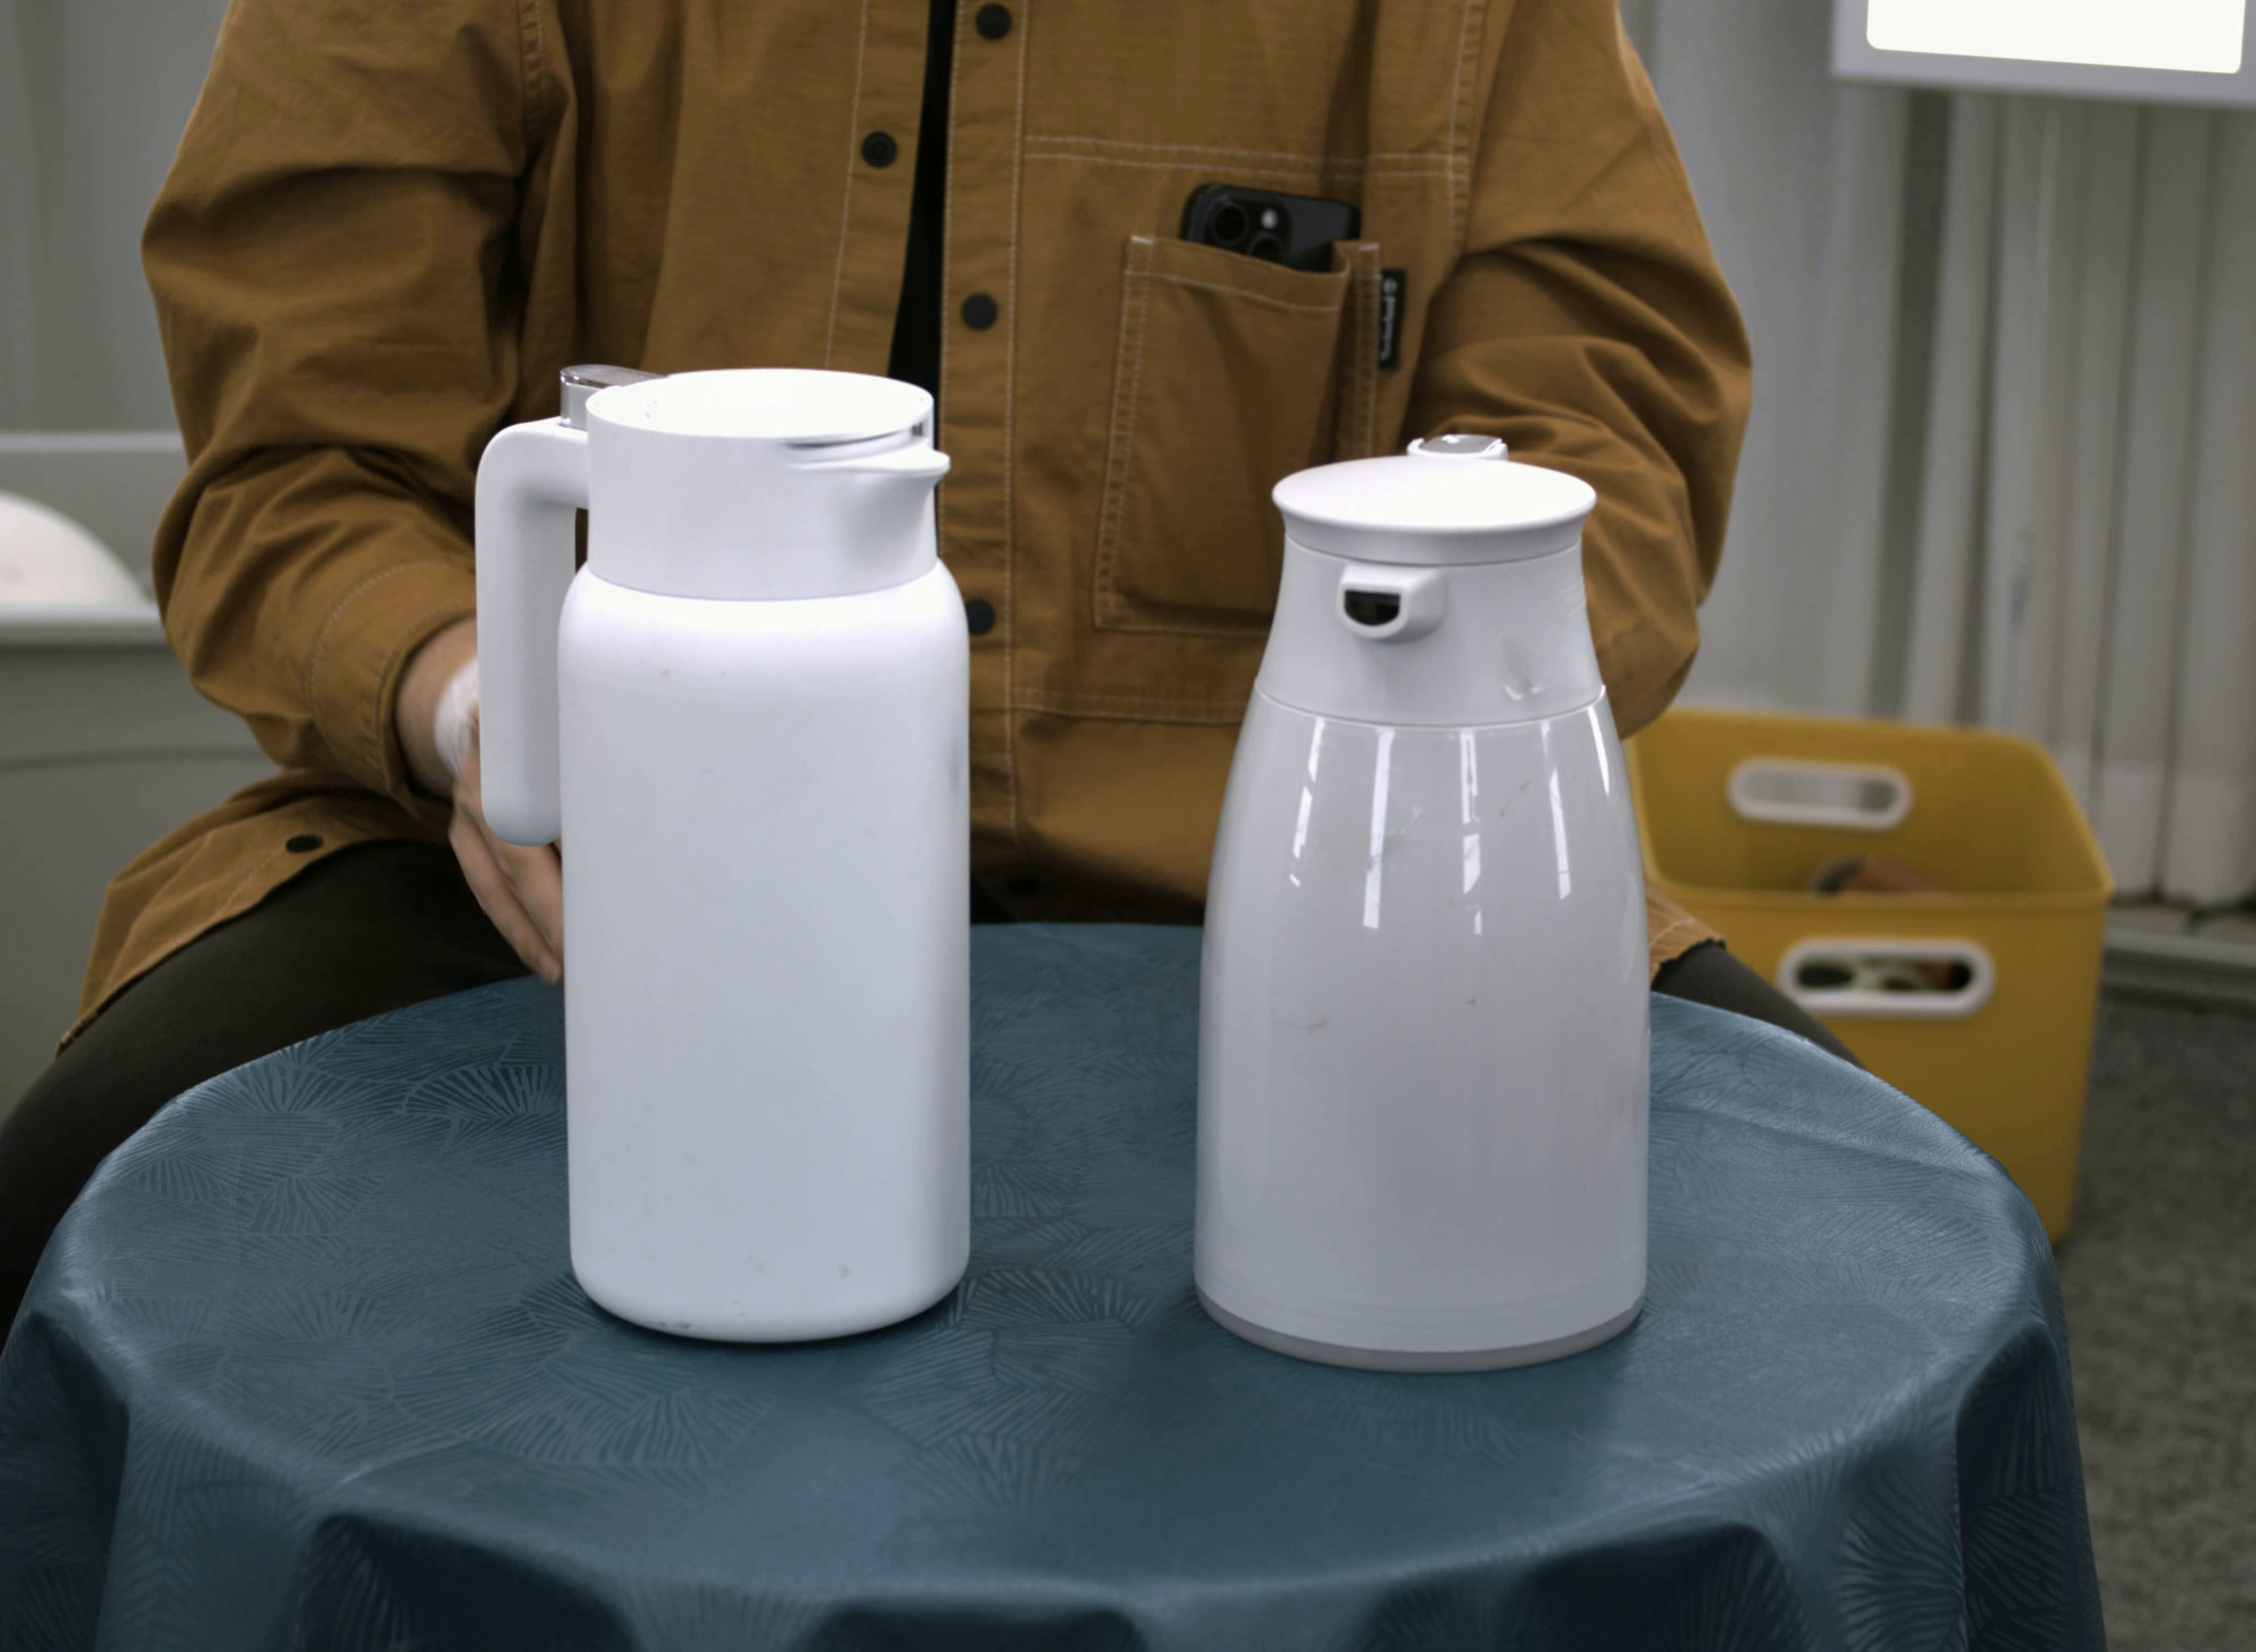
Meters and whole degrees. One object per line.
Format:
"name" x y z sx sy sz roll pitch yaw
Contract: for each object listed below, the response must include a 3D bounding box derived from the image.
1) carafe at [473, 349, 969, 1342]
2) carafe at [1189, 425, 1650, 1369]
"carafe" -0.118 0.003 1.512 0.170 0.271 0.124 12 22 37
"carafe" 0.090 0.011 1.522 0.131 0.250 0.168 5 16 16
